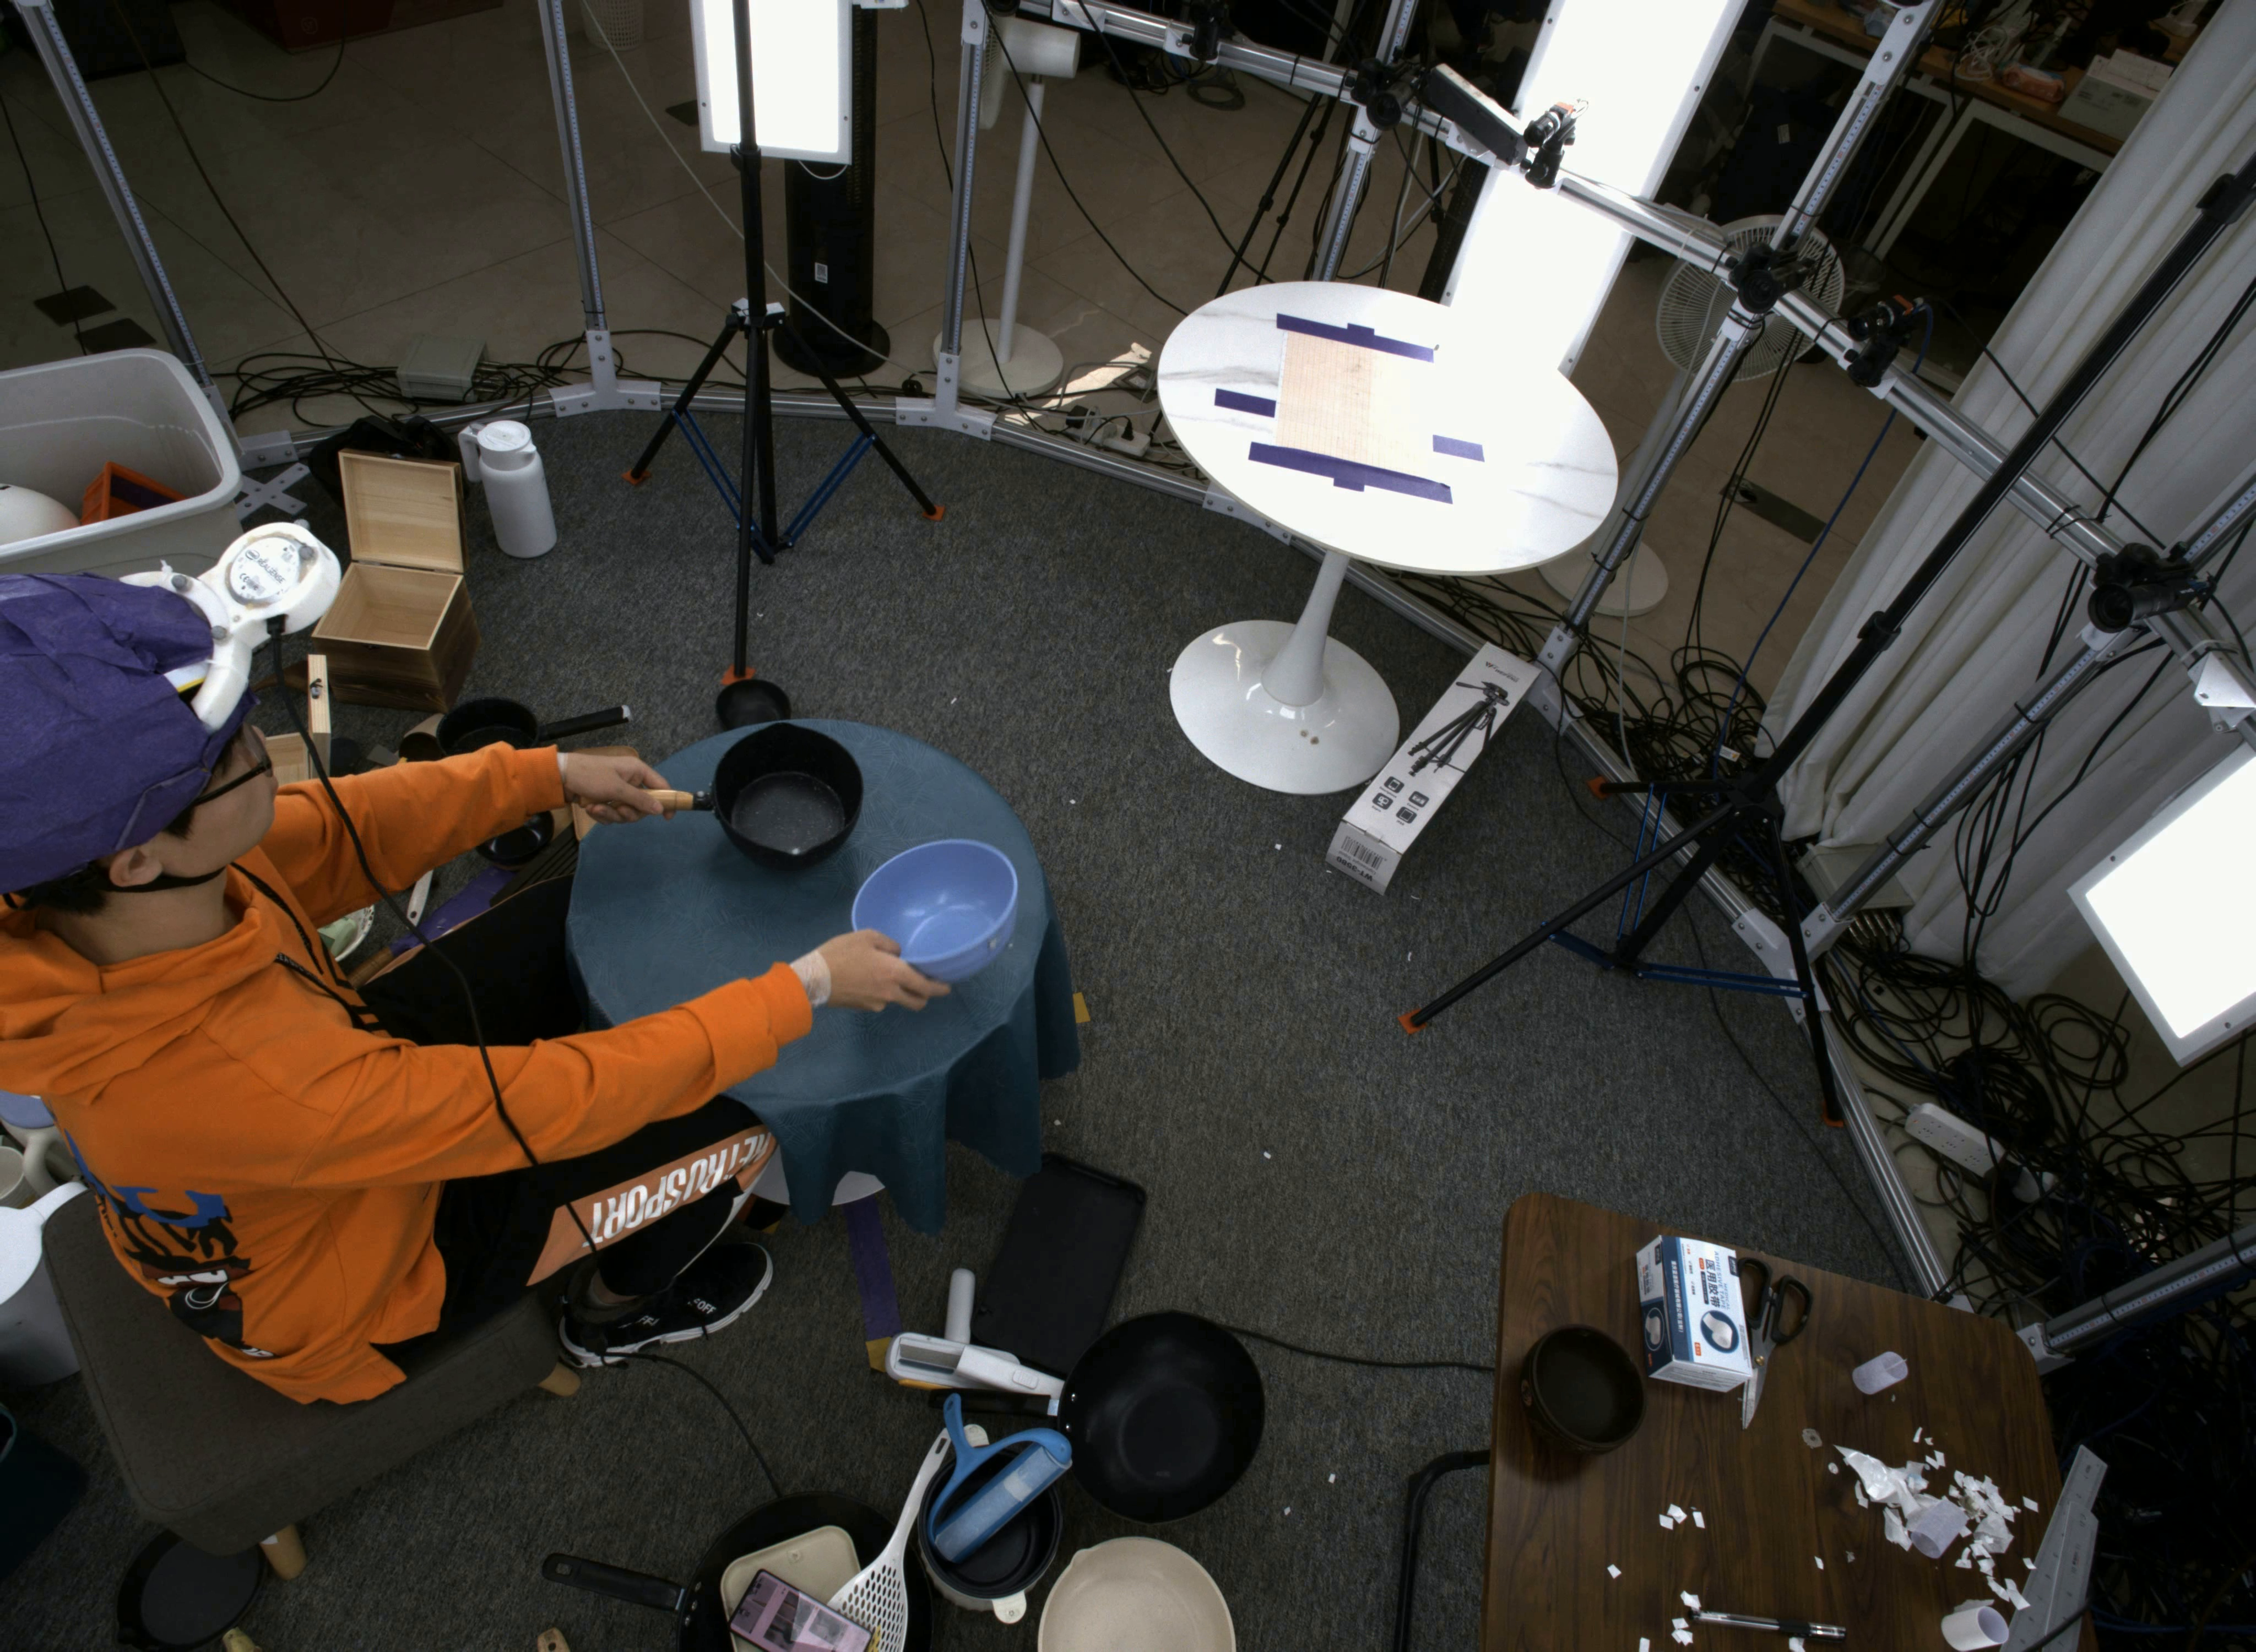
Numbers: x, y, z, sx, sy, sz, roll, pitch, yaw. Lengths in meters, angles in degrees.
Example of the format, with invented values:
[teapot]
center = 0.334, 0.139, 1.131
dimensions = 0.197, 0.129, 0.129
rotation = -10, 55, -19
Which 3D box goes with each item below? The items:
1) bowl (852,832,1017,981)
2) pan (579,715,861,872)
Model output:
[bowl]
center = -0.213, 0.108, 1.516
dimensions = 0.193, 0.099, 0.192
rotation = -7, 42, 8
[pan]
center = -0.504, -0.027, 1.595
dimensions = 0.345, 0.109, 0.204
rotation = -6, 63, -22
